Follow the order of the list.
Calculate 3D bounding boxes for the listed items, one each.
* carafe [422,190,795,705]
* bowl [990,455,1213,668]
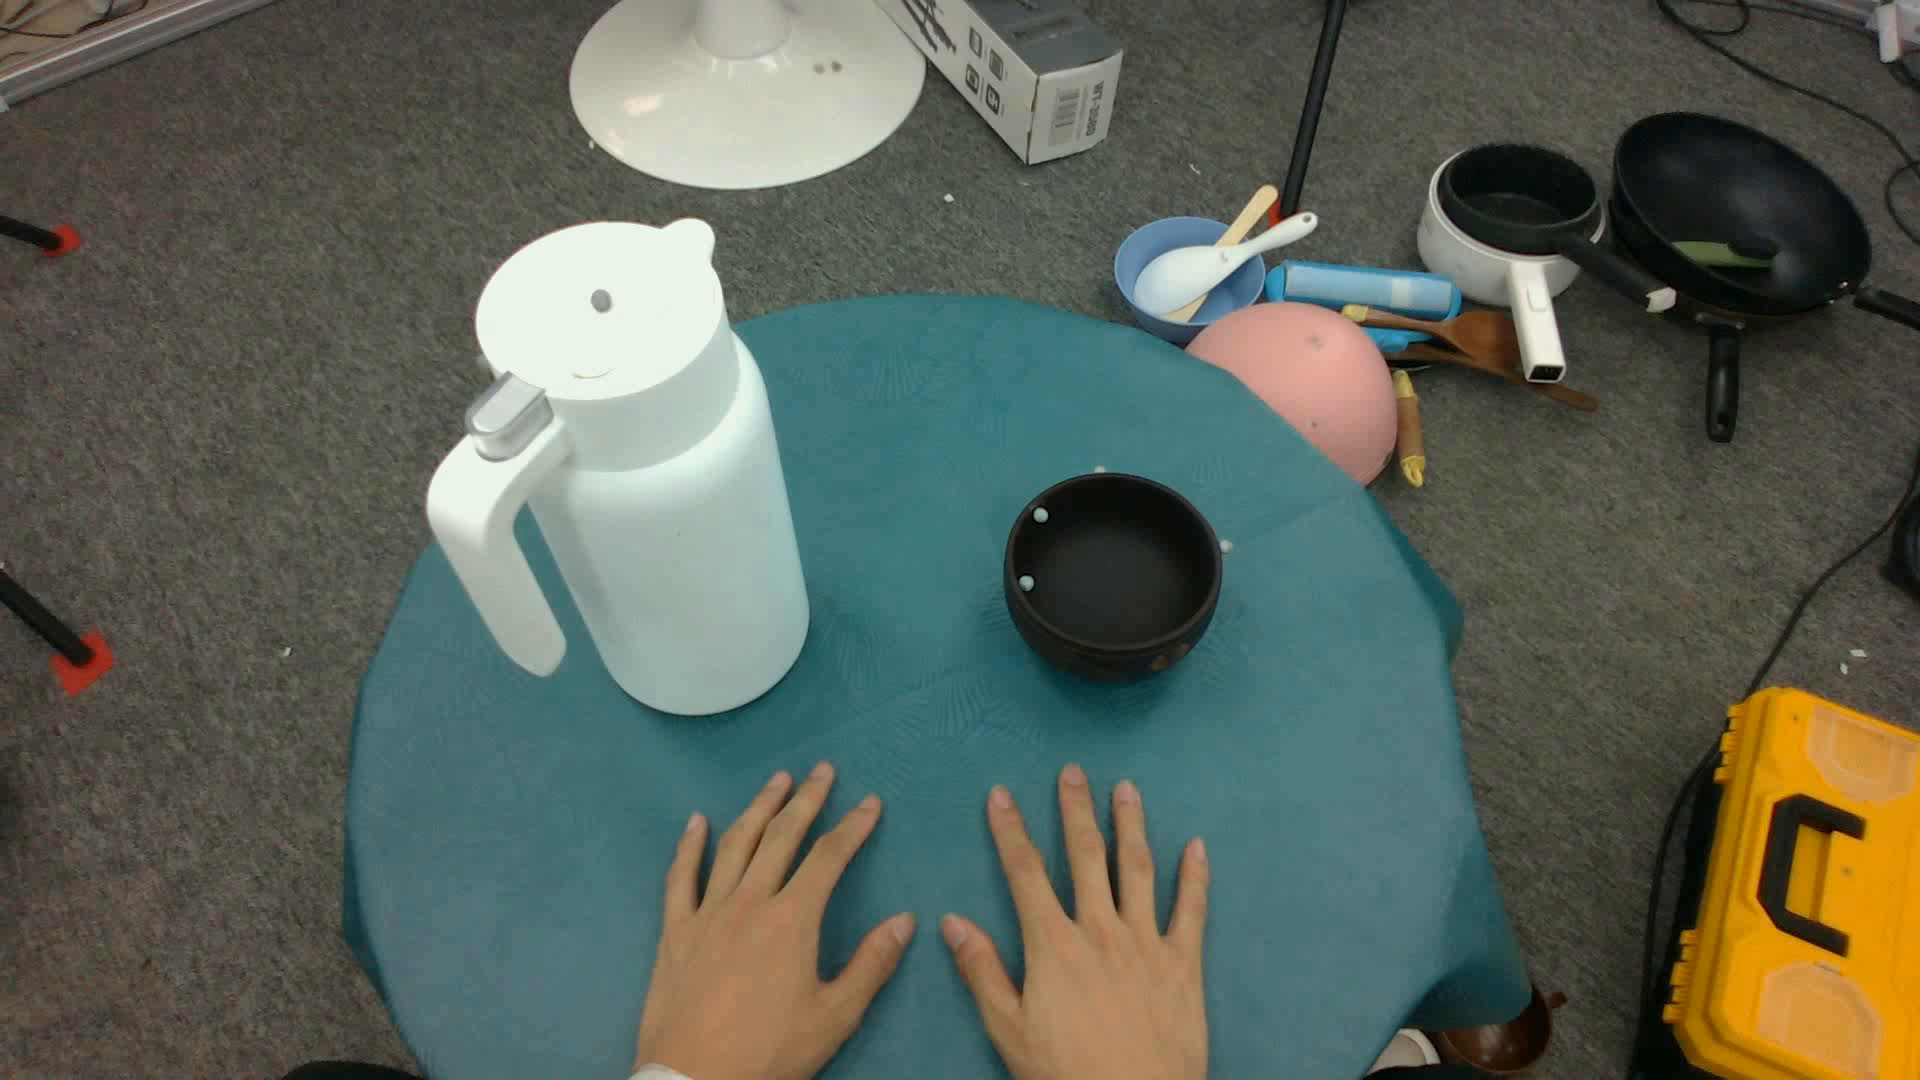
[{"bbox_3d":[-0.158,-0.016,0.659,0.124,0.267,0.173,25,60,13],"label":"carafe"},{"bbox_3d":[0.075,0.018,0.752,0.118,0.069,0.118,0,55,0],"label":"bowl"}]
